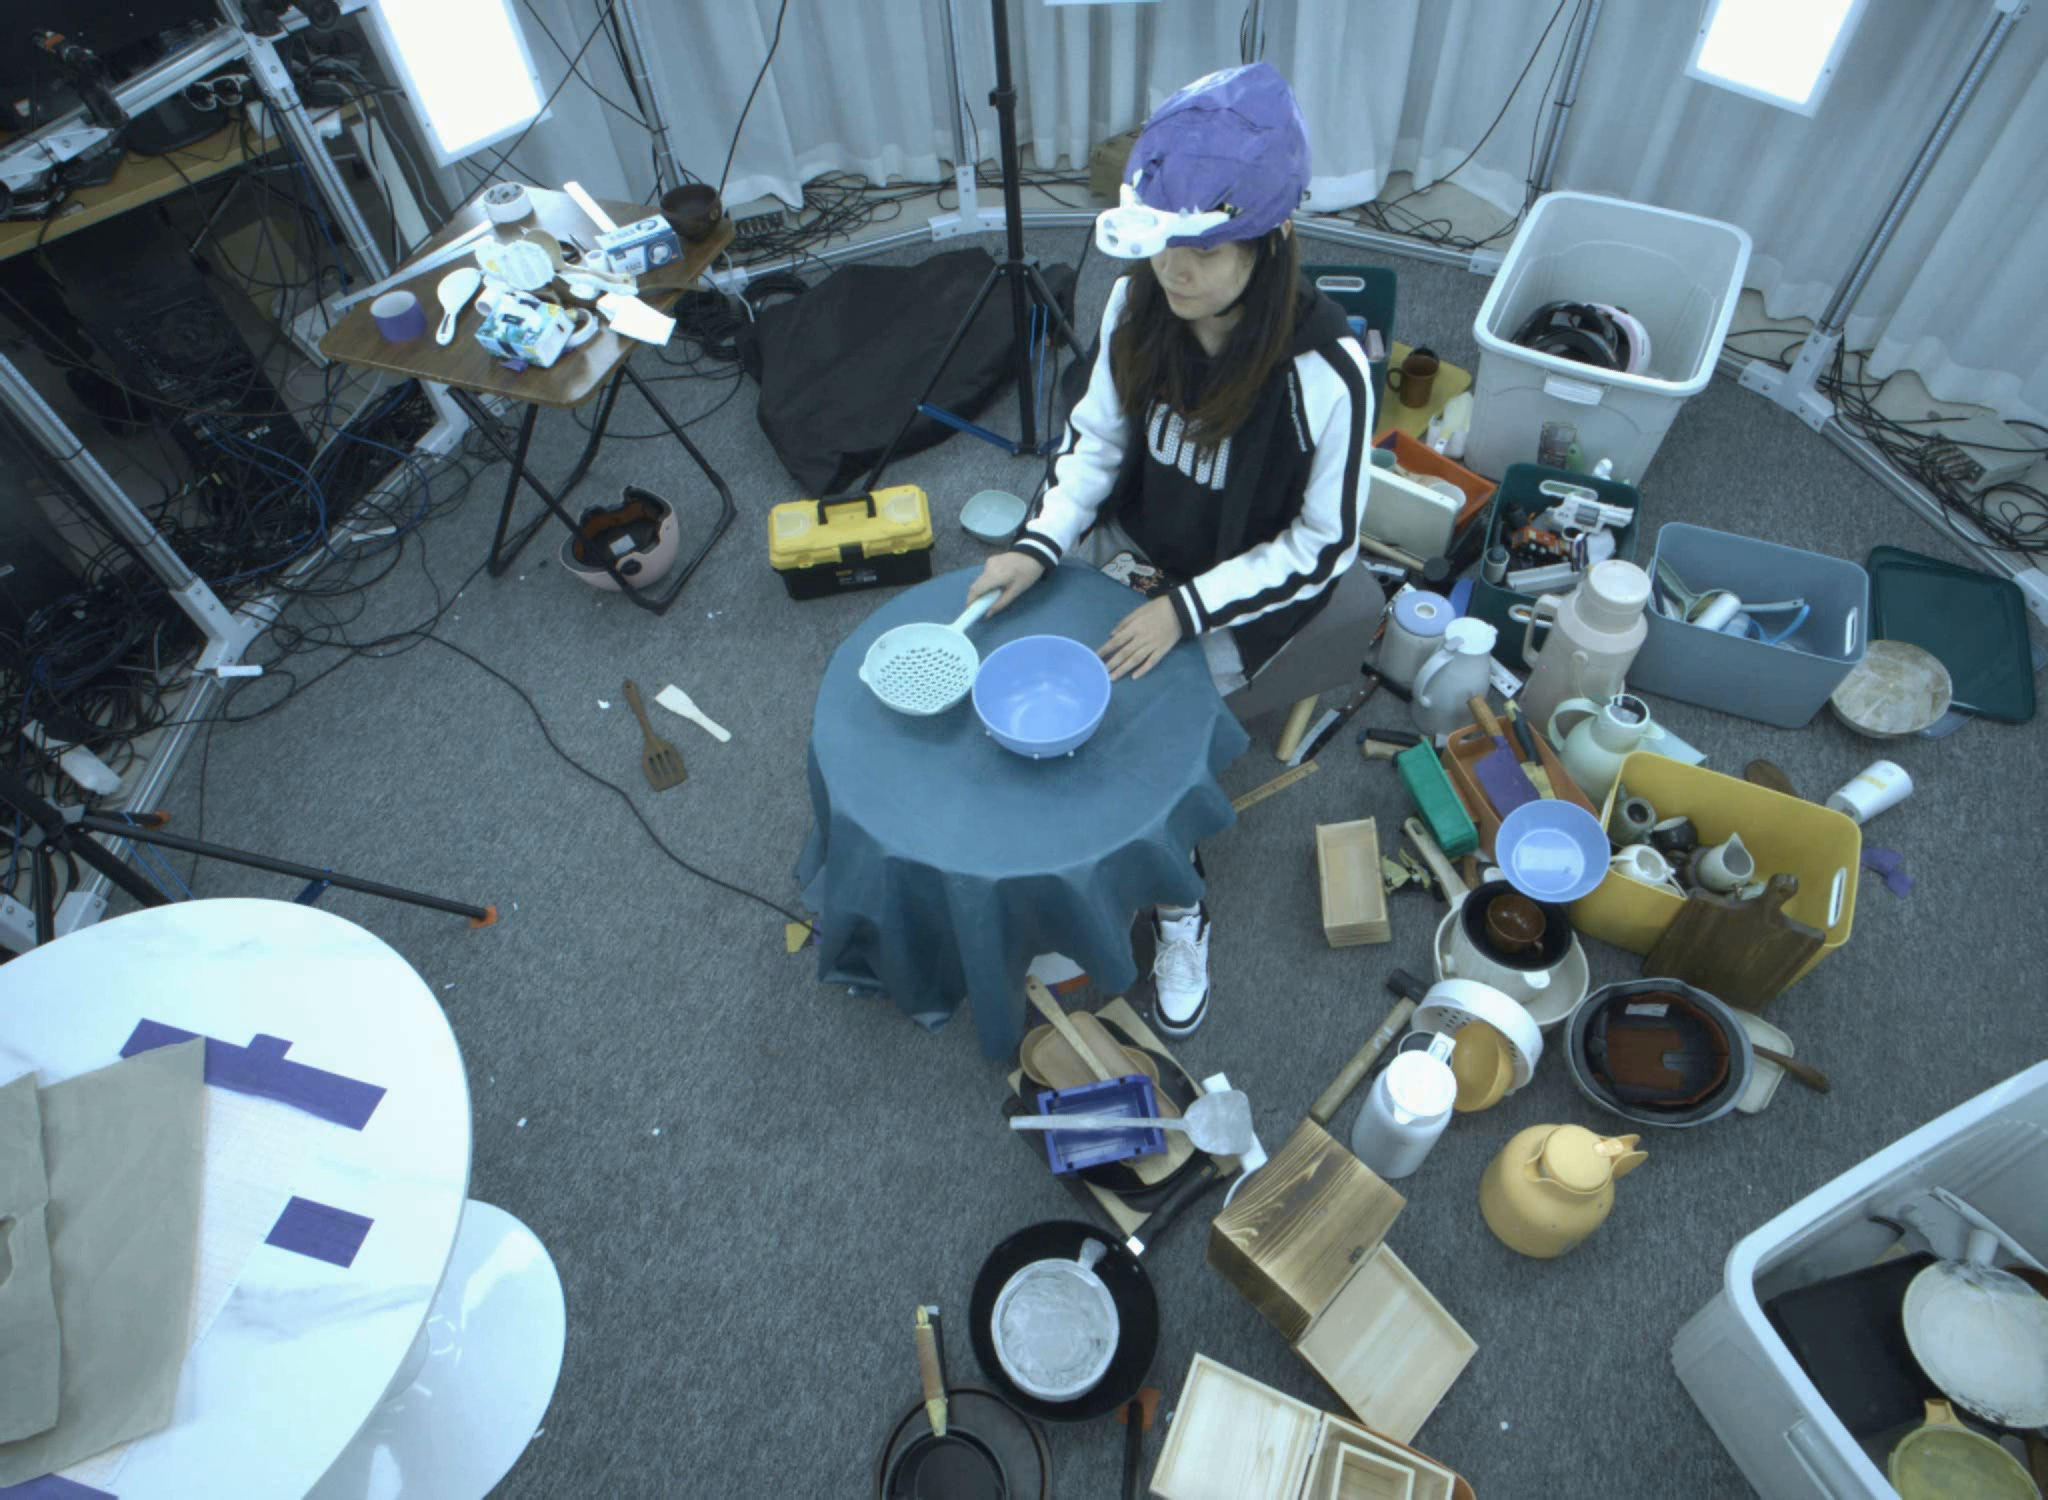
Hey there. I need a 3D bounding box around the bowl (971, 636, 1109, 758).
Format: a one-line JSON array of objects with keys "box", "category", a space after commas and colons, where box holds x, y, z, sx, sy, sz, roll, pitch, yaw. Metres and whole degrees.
[{"box": [0.025, -0.062, 1.772, 0.196, 0.096, 0.194, -1, 55, 2], "category": "bowl"}]

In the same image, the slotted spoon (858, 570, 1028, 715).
[{"box": [-0.100, -0.181, 1.876, 0.167, 0.076, 0.360, 28, 63, 18], "category": "slotted spoon"}]
